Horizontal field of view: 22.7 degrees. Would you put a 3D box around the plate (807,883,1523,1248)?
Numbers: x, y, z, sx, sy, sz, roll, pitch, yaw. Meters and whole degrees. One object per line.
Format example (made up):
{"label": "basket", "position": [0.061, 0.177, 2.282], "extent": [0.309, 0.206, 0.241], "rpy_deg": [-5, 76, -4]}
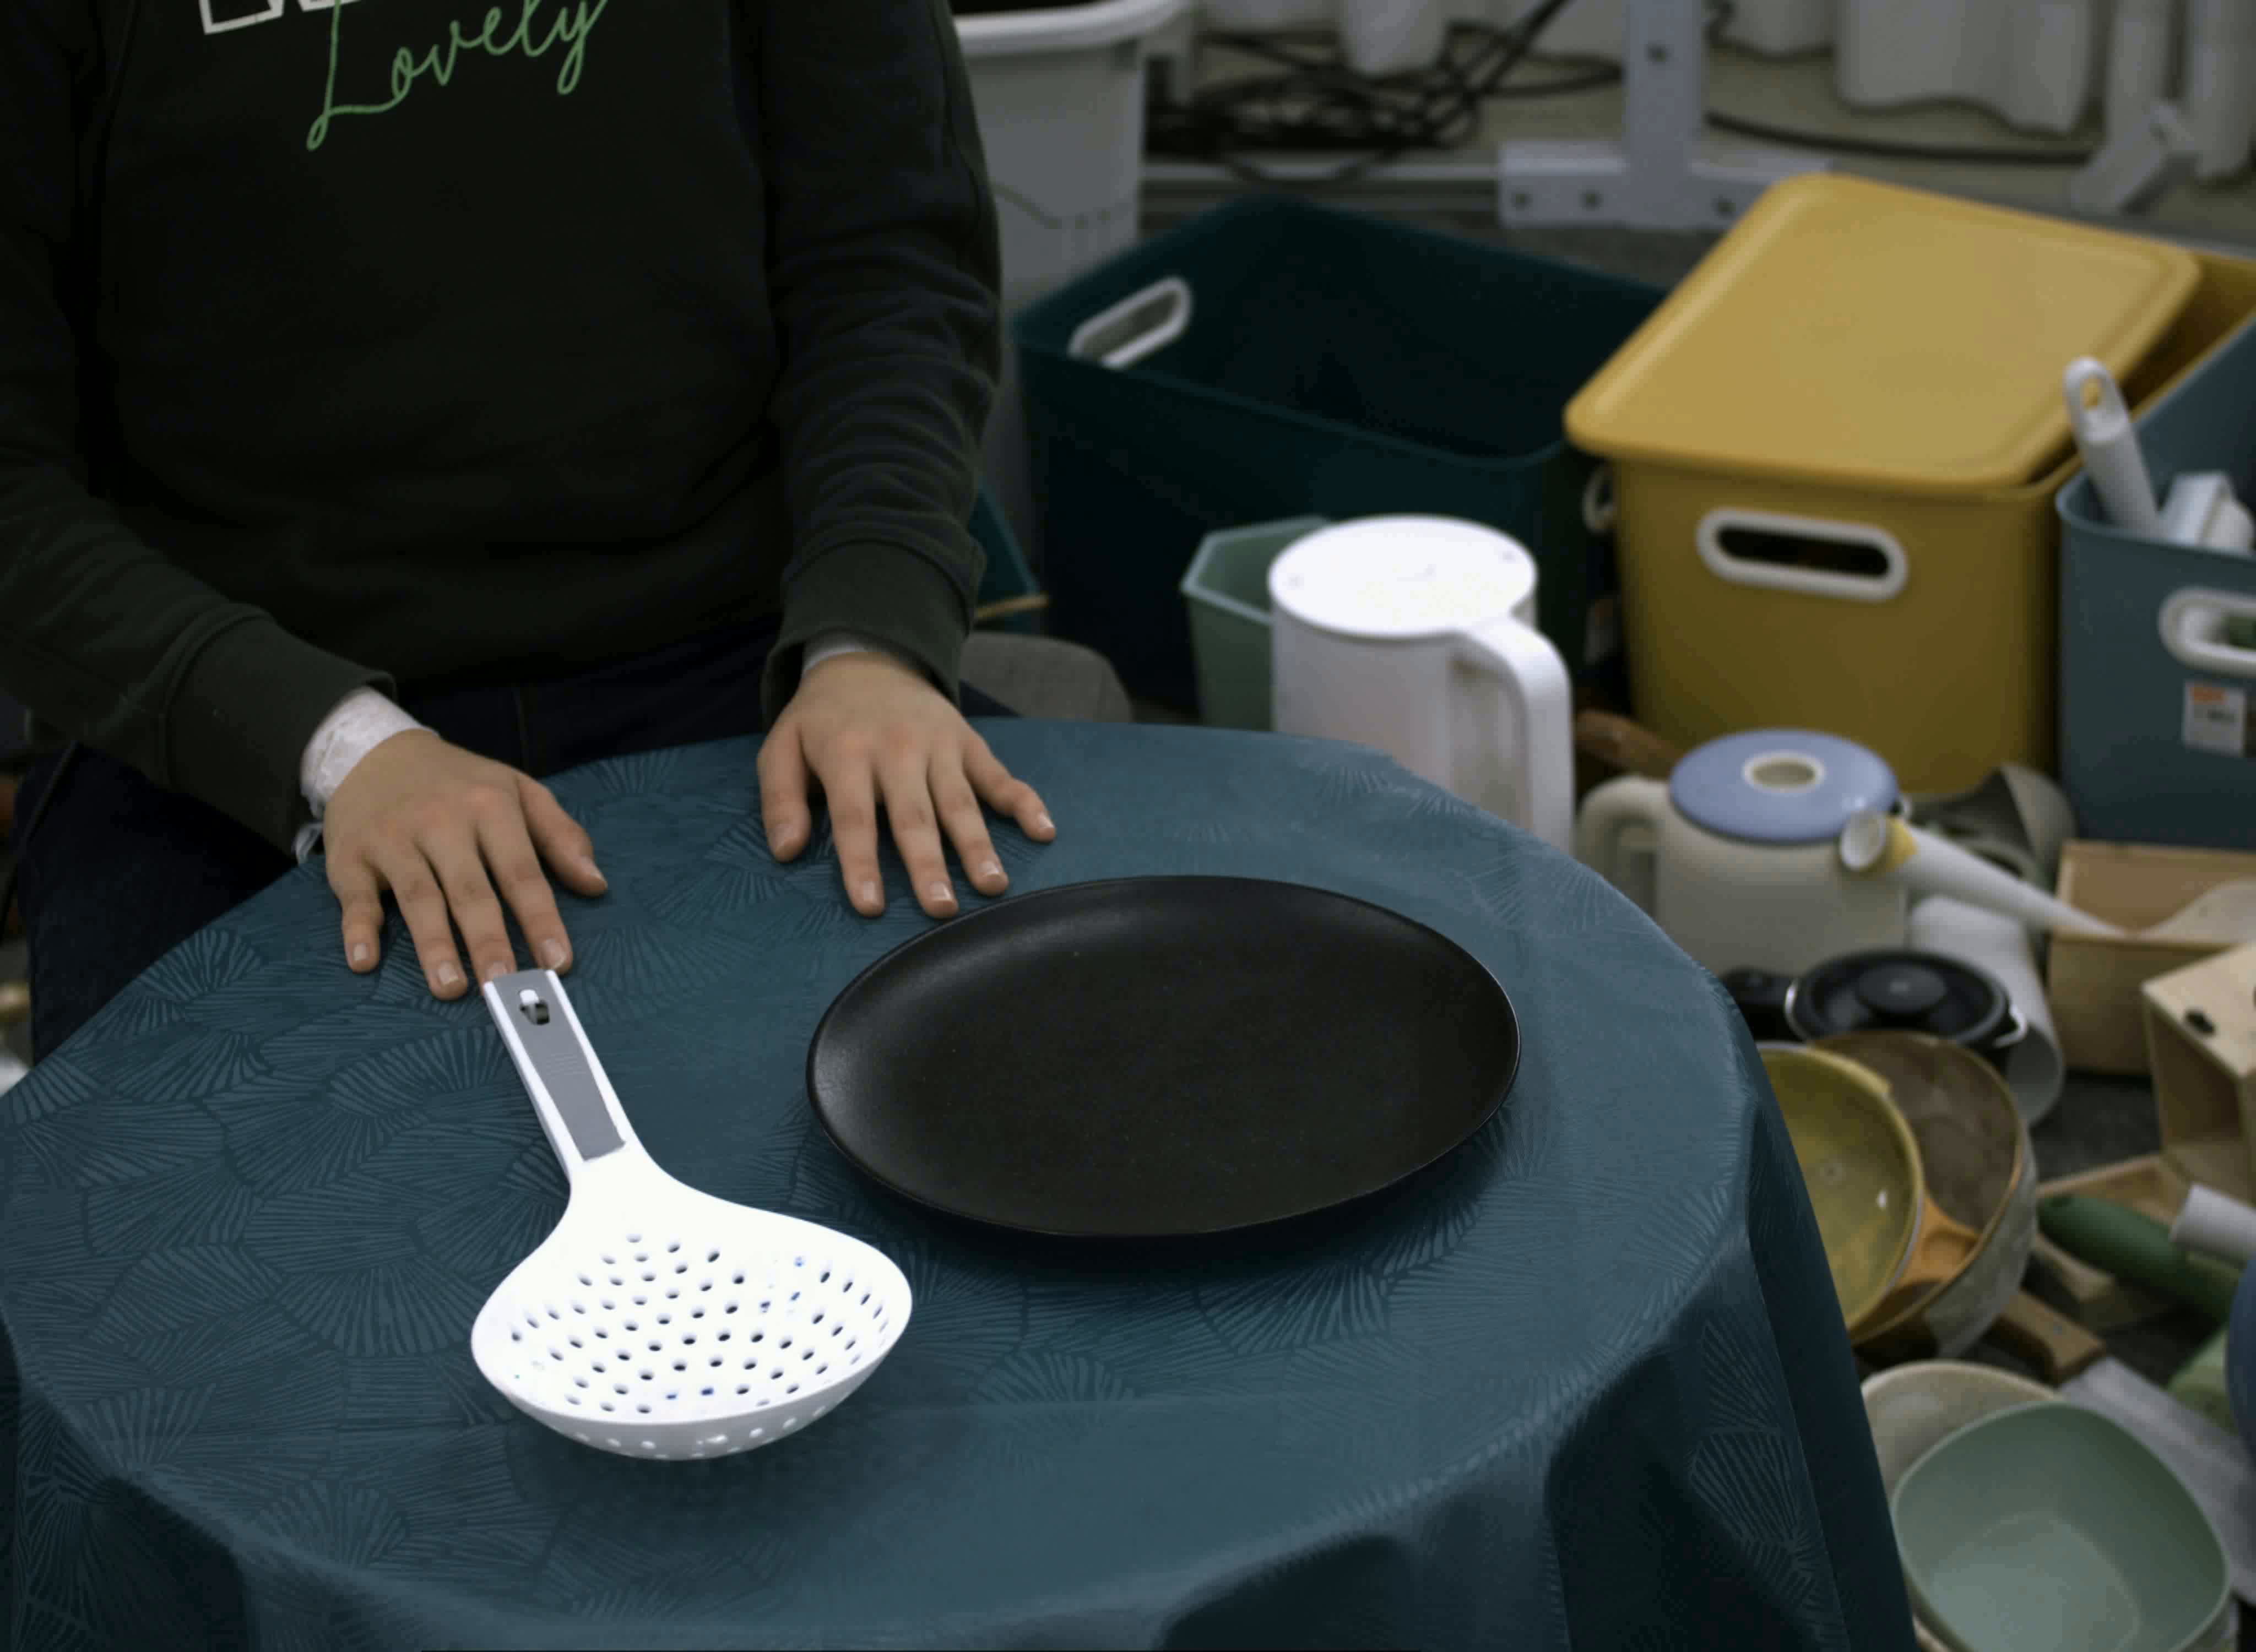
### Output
{"label": "plate", "position": [0.013, 0.085, 1.906], "extent": [0.243, 0.023, 0.248], "rpy_deg": [-2, 27, 2]}

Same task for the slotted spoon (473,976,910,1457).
{"label": "slotted spoon", "position": [-0.165, 0.121, 1.830], "extent": [0.136, 0.045, 0.353], "rpy_deg": [-8, 27, -14]}
